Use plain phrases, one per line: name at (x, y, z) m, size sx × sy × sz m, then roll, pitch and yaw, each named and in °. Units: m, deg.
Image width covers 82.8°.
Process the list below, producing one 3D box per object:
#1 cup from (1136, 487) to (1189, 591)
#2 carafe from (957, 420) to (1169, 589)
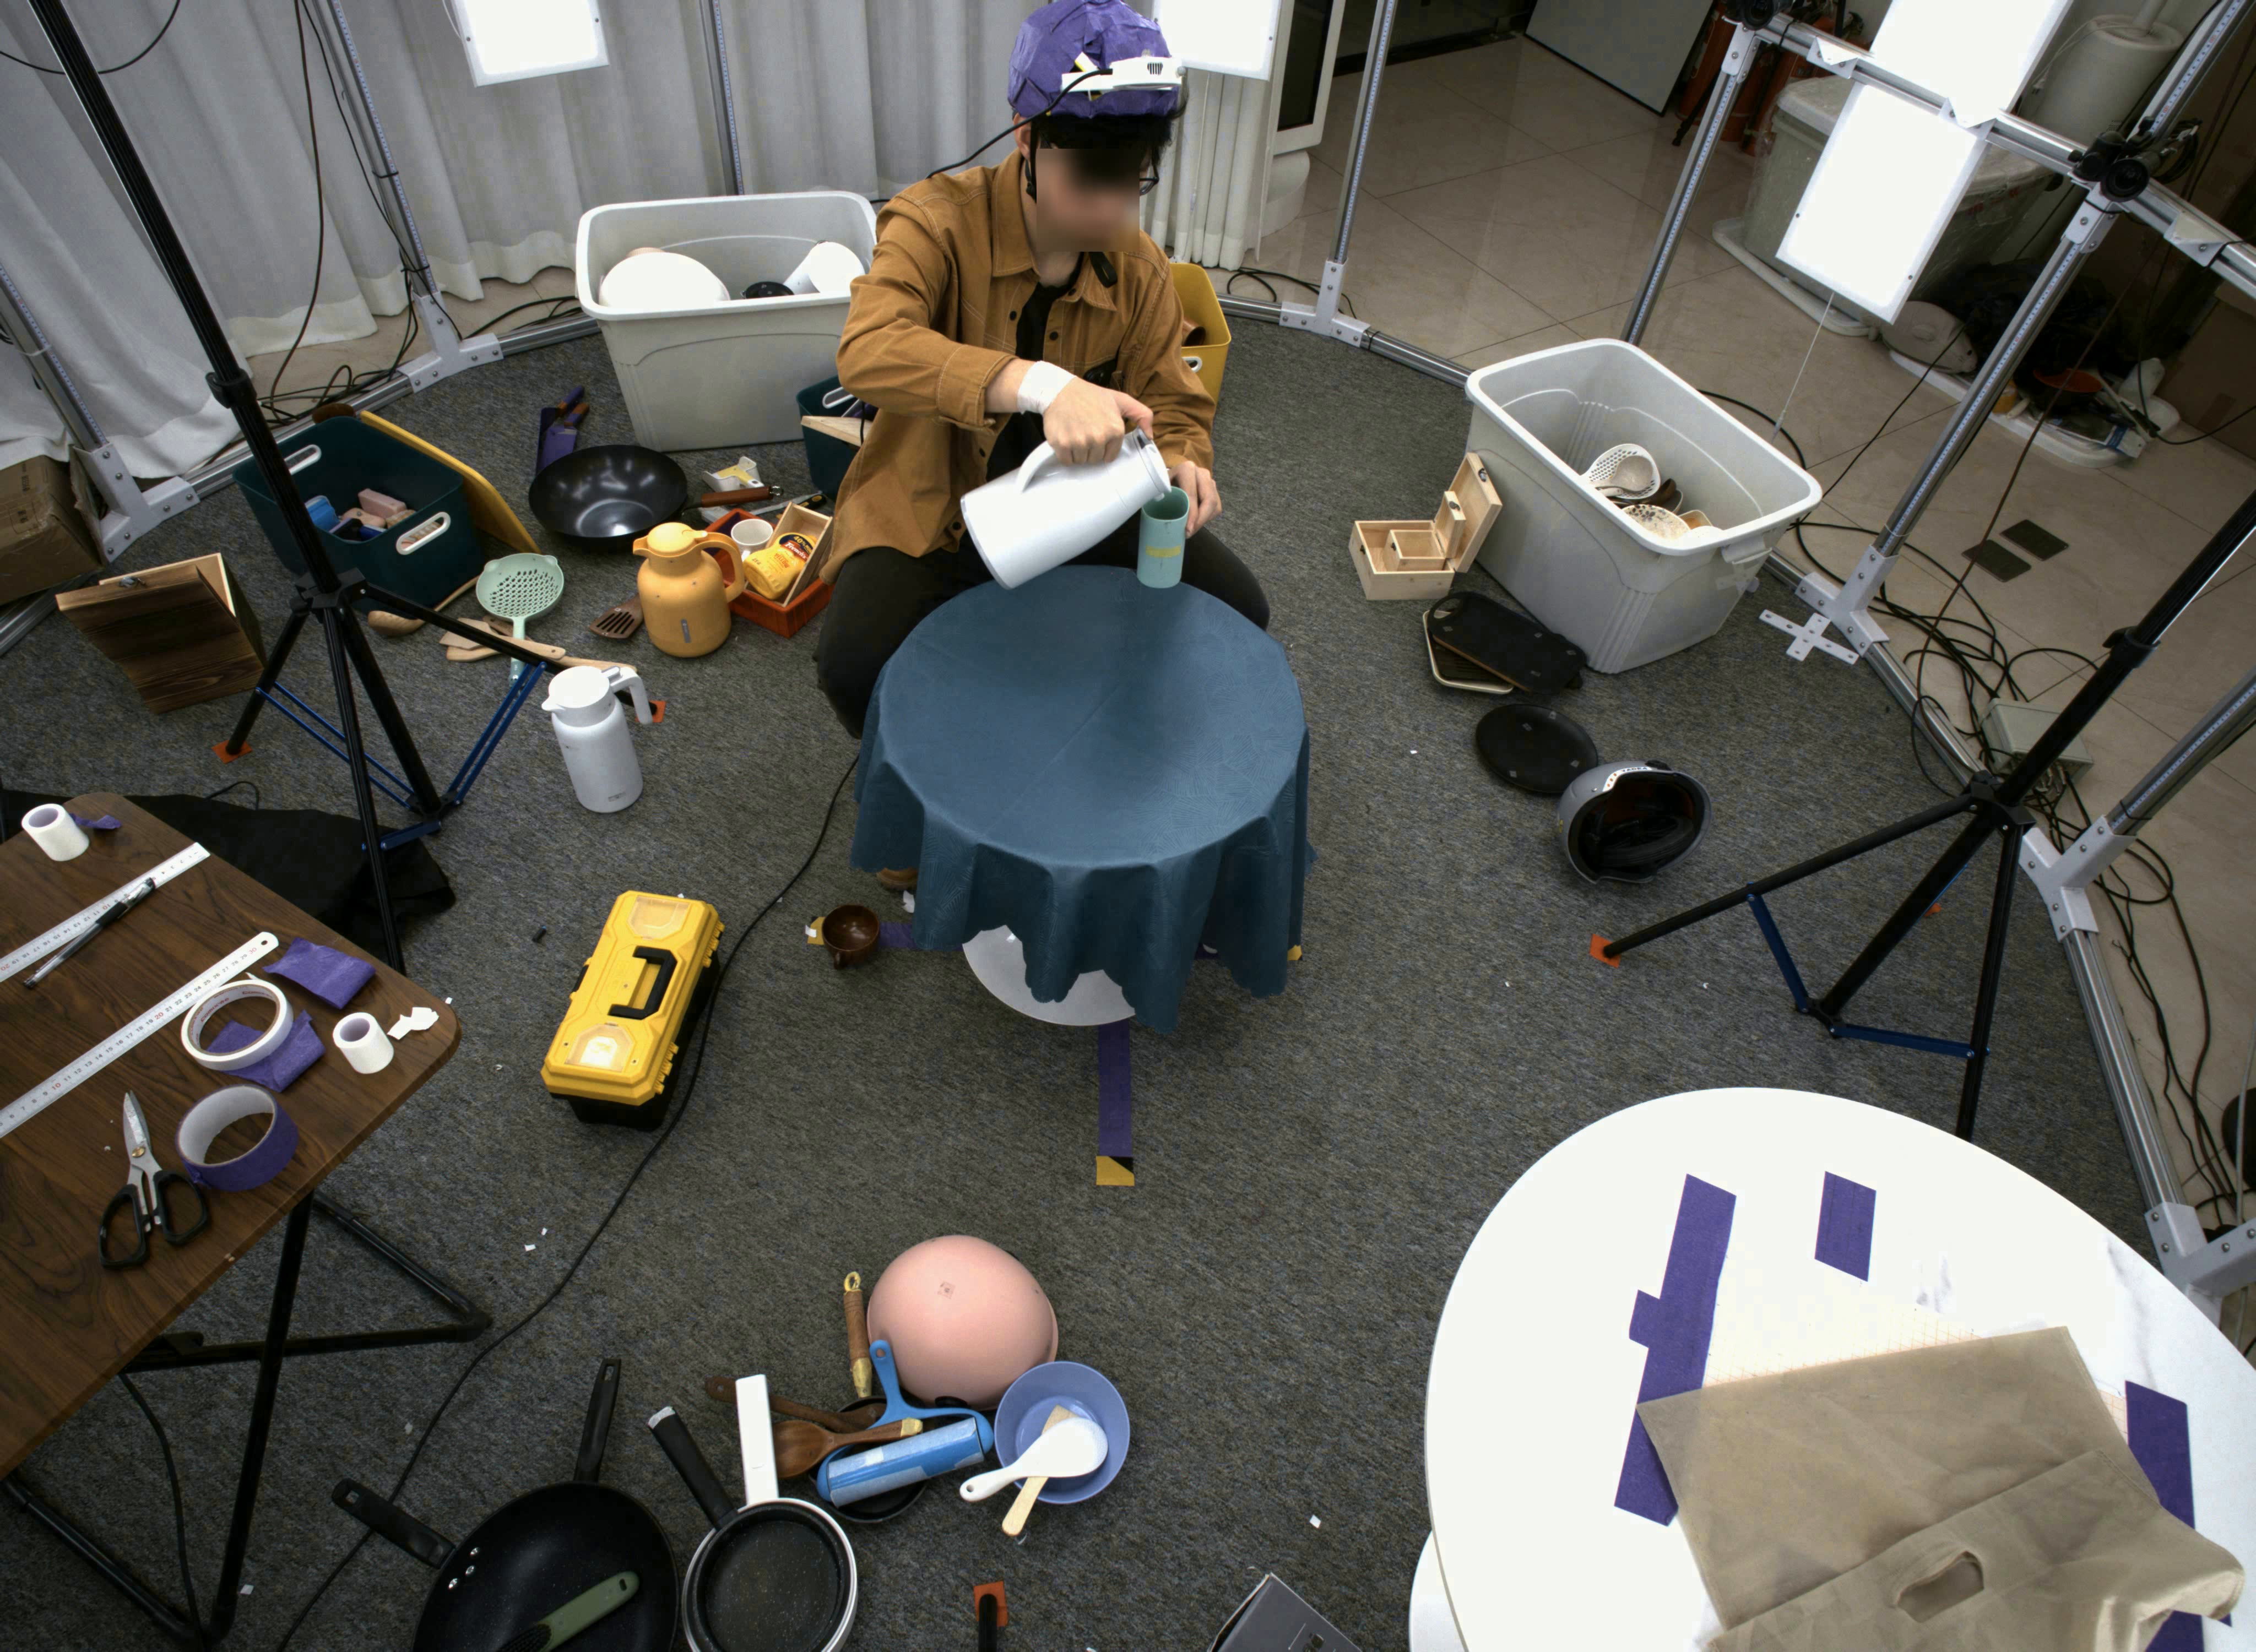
cup at (0.045, -0.380, 1.706) m, size 0.066 × 0.129 × 0.068 m, roll 1°, pitch 58°, yaw -2°
carafe at (-0.079, -0.414, 1.589) m, size 0.248 × 0.164 × 0.135 m, roll -24°, pitch 61°, yaw 13°
